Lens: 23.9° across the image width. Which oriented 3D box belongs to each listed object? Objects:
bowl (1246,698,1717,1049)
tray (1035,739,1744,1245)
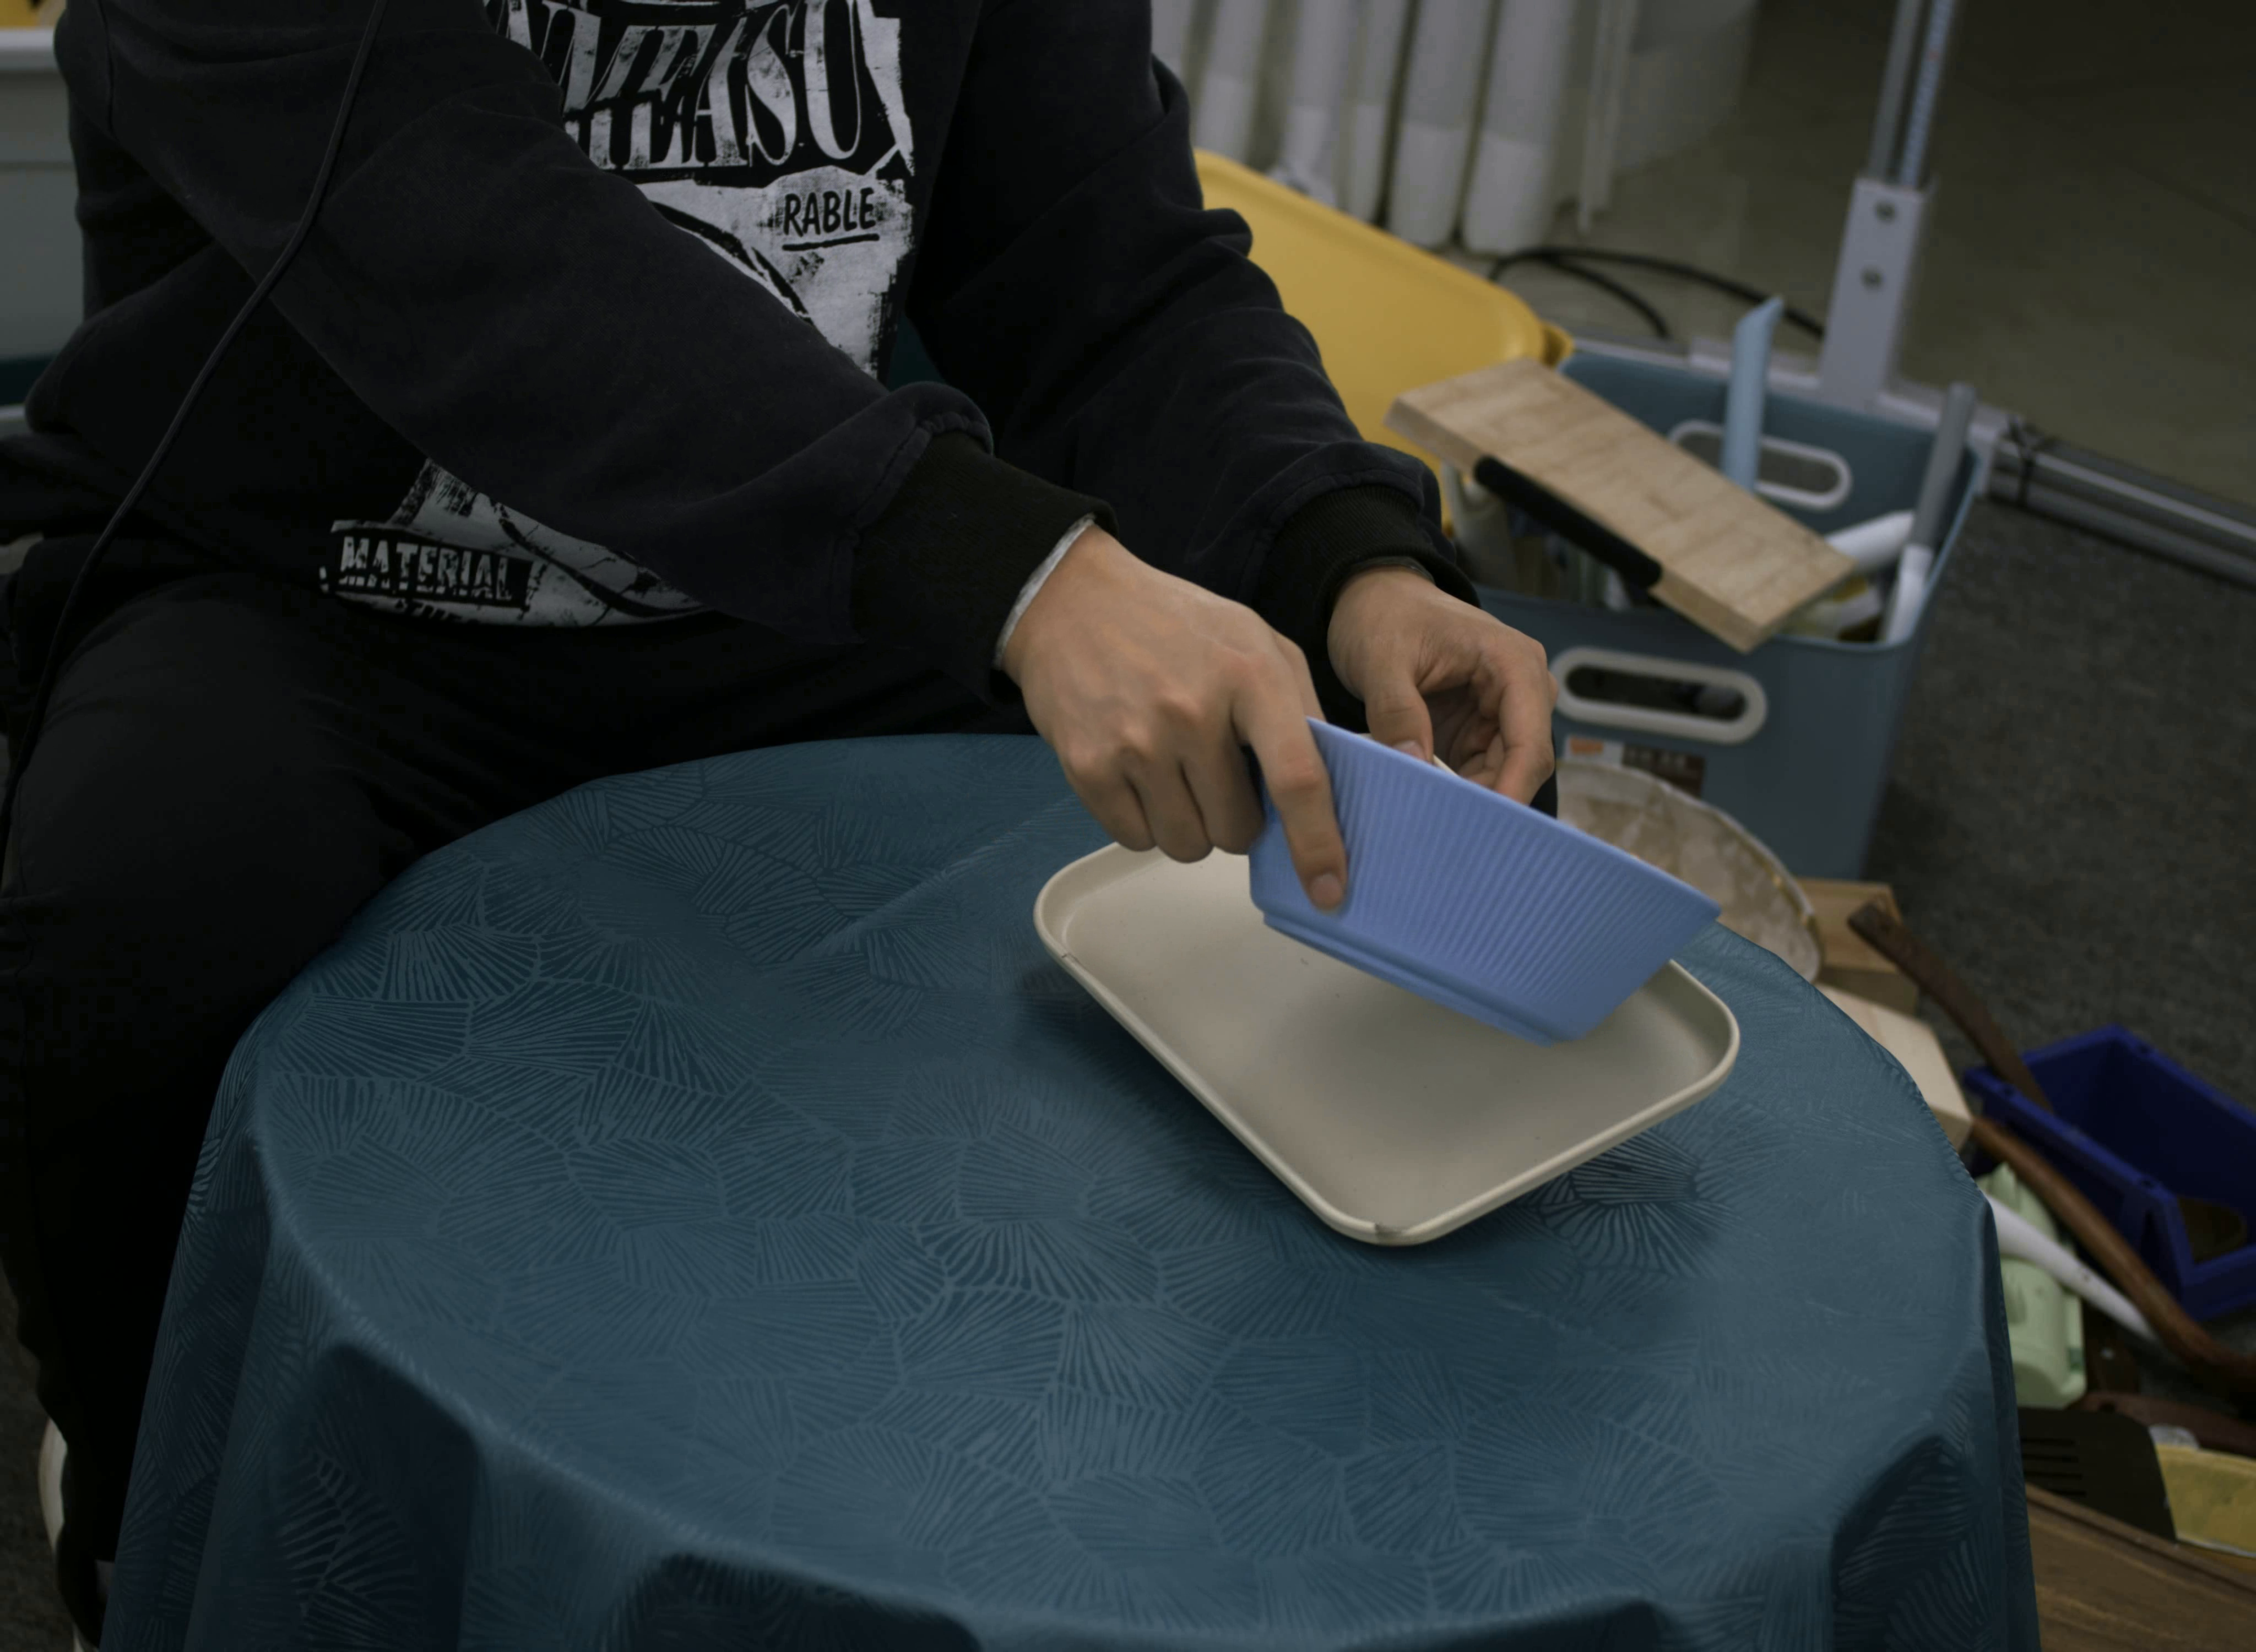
[{"bbox_3d":[0.107,0.022,1.809,0.176,0.070,0.176,25,-3,1],"label":"bowl"},{"bbox_3d":[0.090,0.057,1.878,0.170,0.017,0.242,-25,41,-22],"label":"tray"}]
